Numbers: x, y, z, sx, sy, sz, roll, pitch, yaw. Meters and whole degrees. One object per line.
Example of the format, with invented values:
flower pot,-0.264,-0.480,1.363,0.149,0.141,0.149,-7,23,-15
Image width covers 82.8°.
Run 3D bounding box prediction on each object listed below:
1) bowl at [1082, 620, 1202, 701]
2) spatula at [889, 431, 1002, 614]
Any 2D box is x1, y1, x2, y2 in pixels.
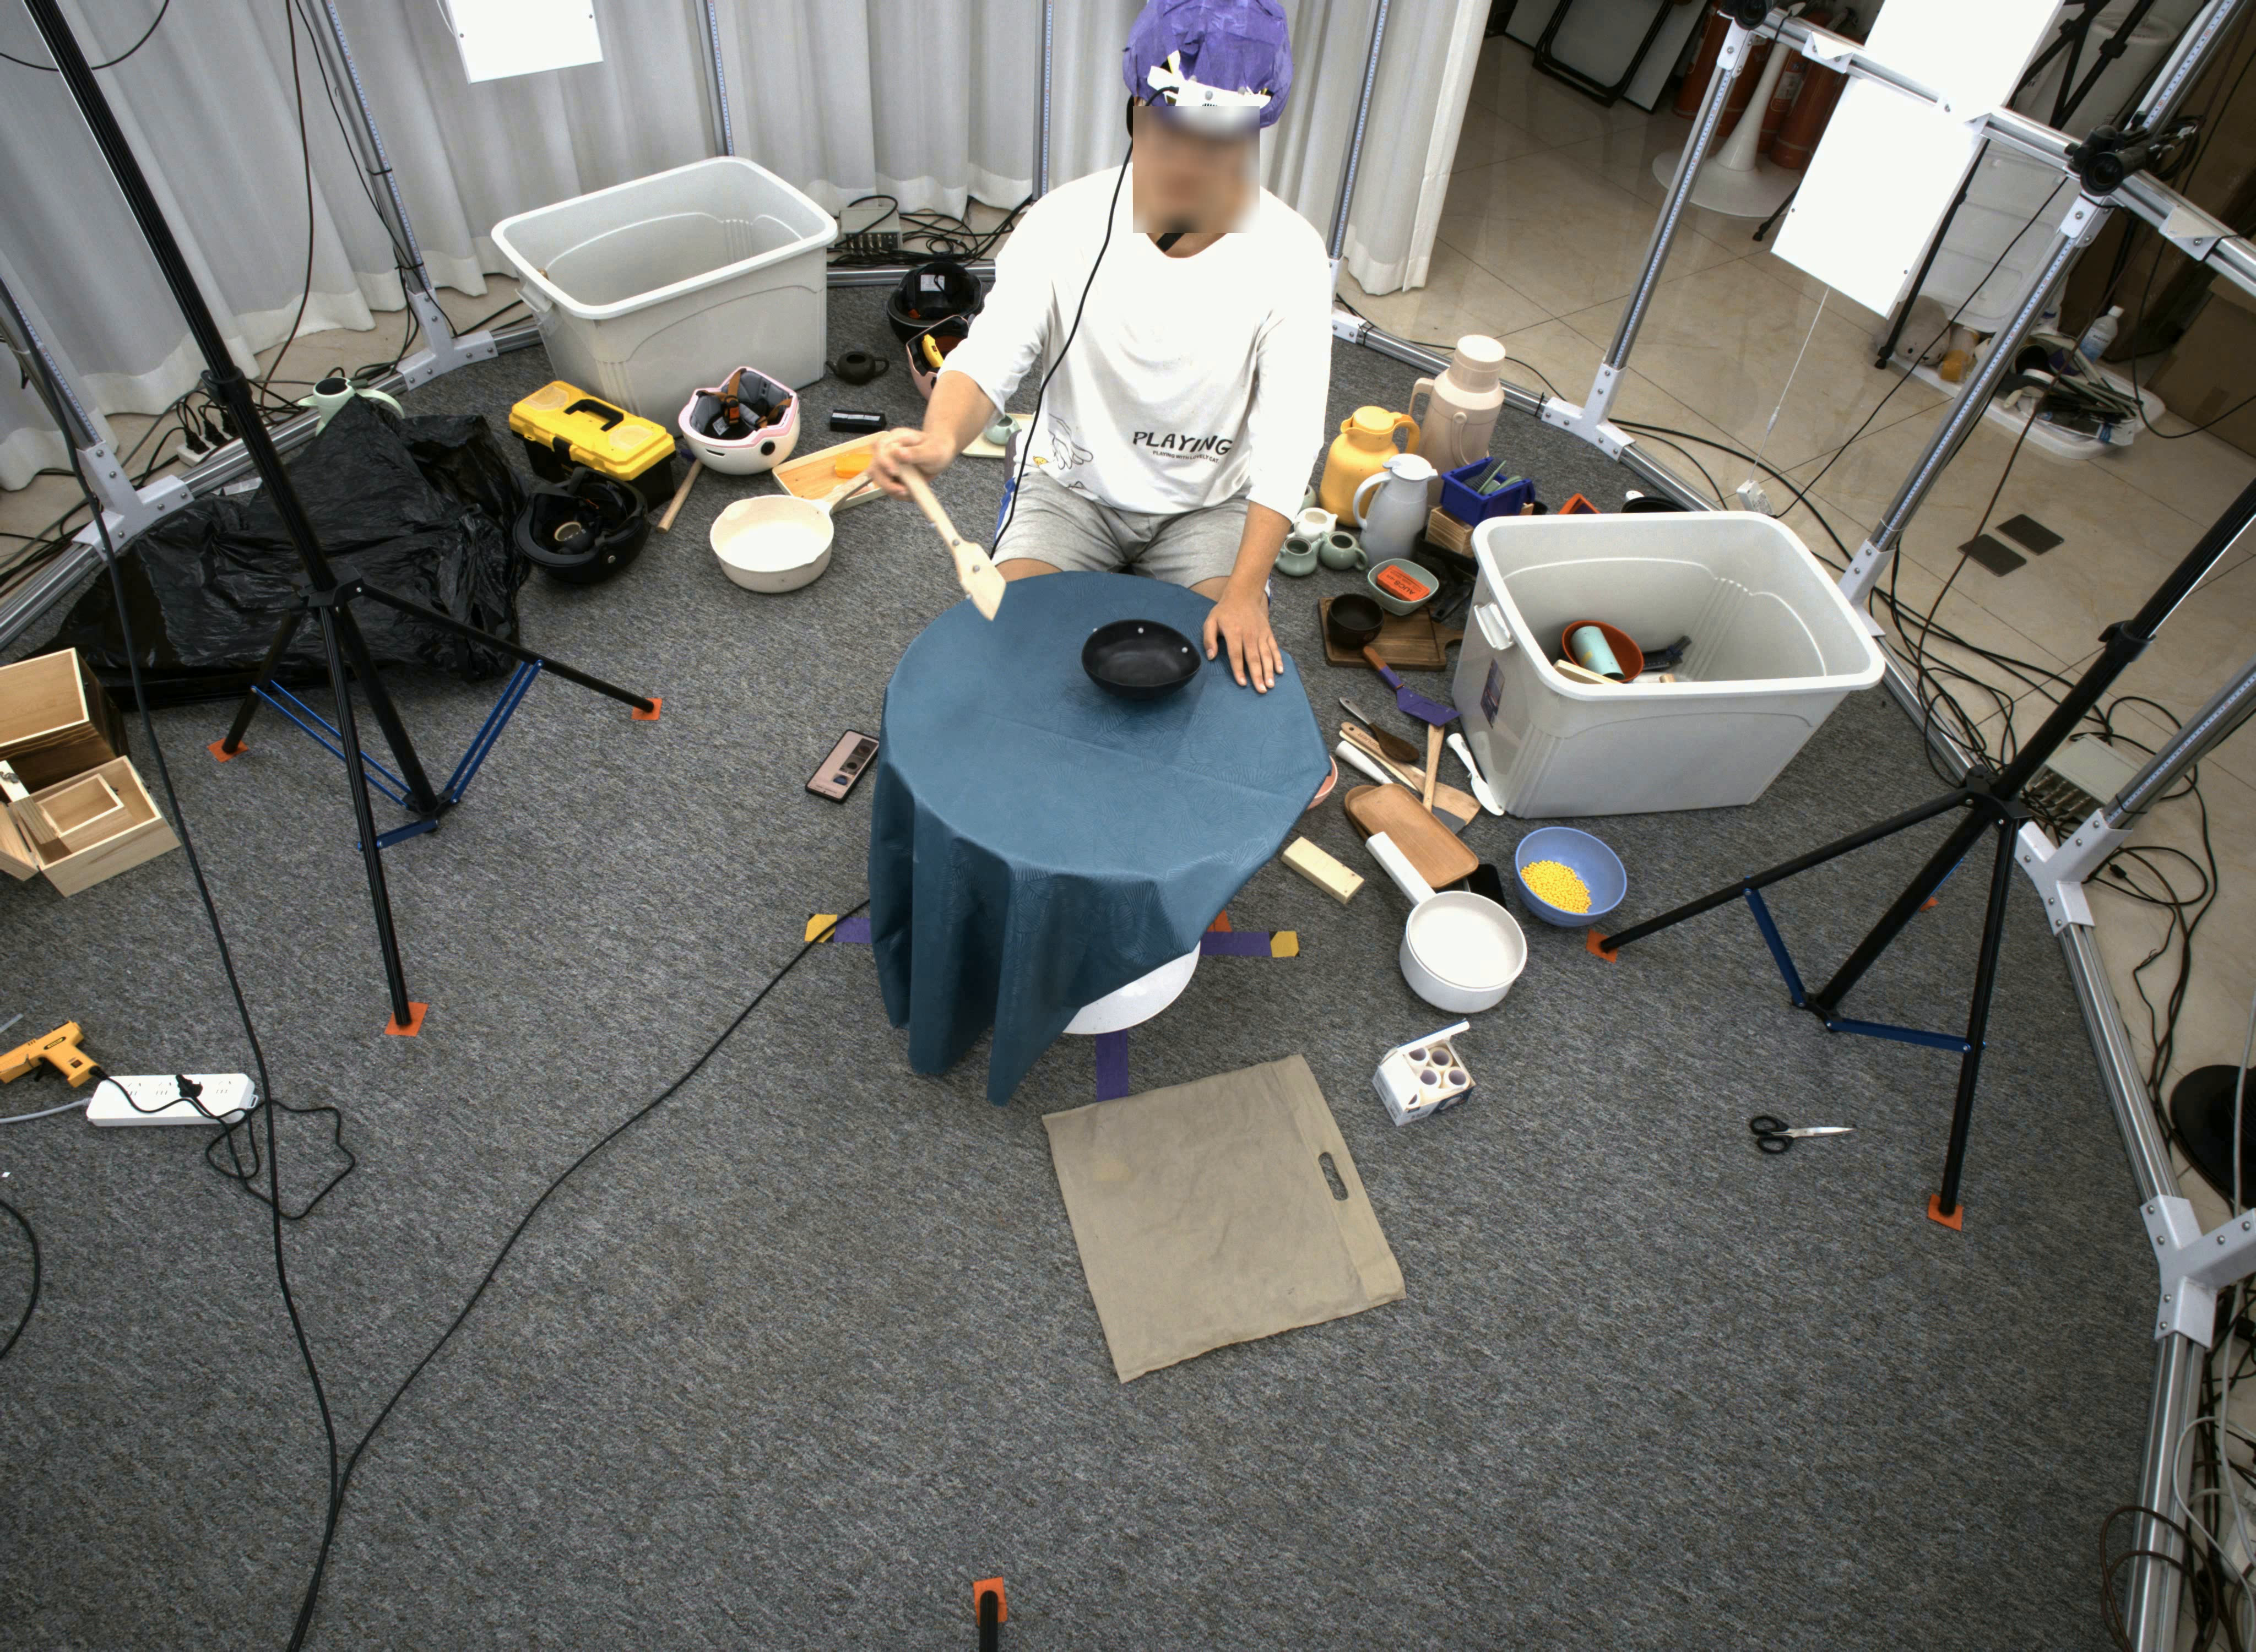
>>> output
bowl,0.018,-0.225,1.820,0.170,0.065,0.141,-3,49,-10
spatula,-0.229,-0.383,1.638,0.011,0.286,0.073,0,59,23
